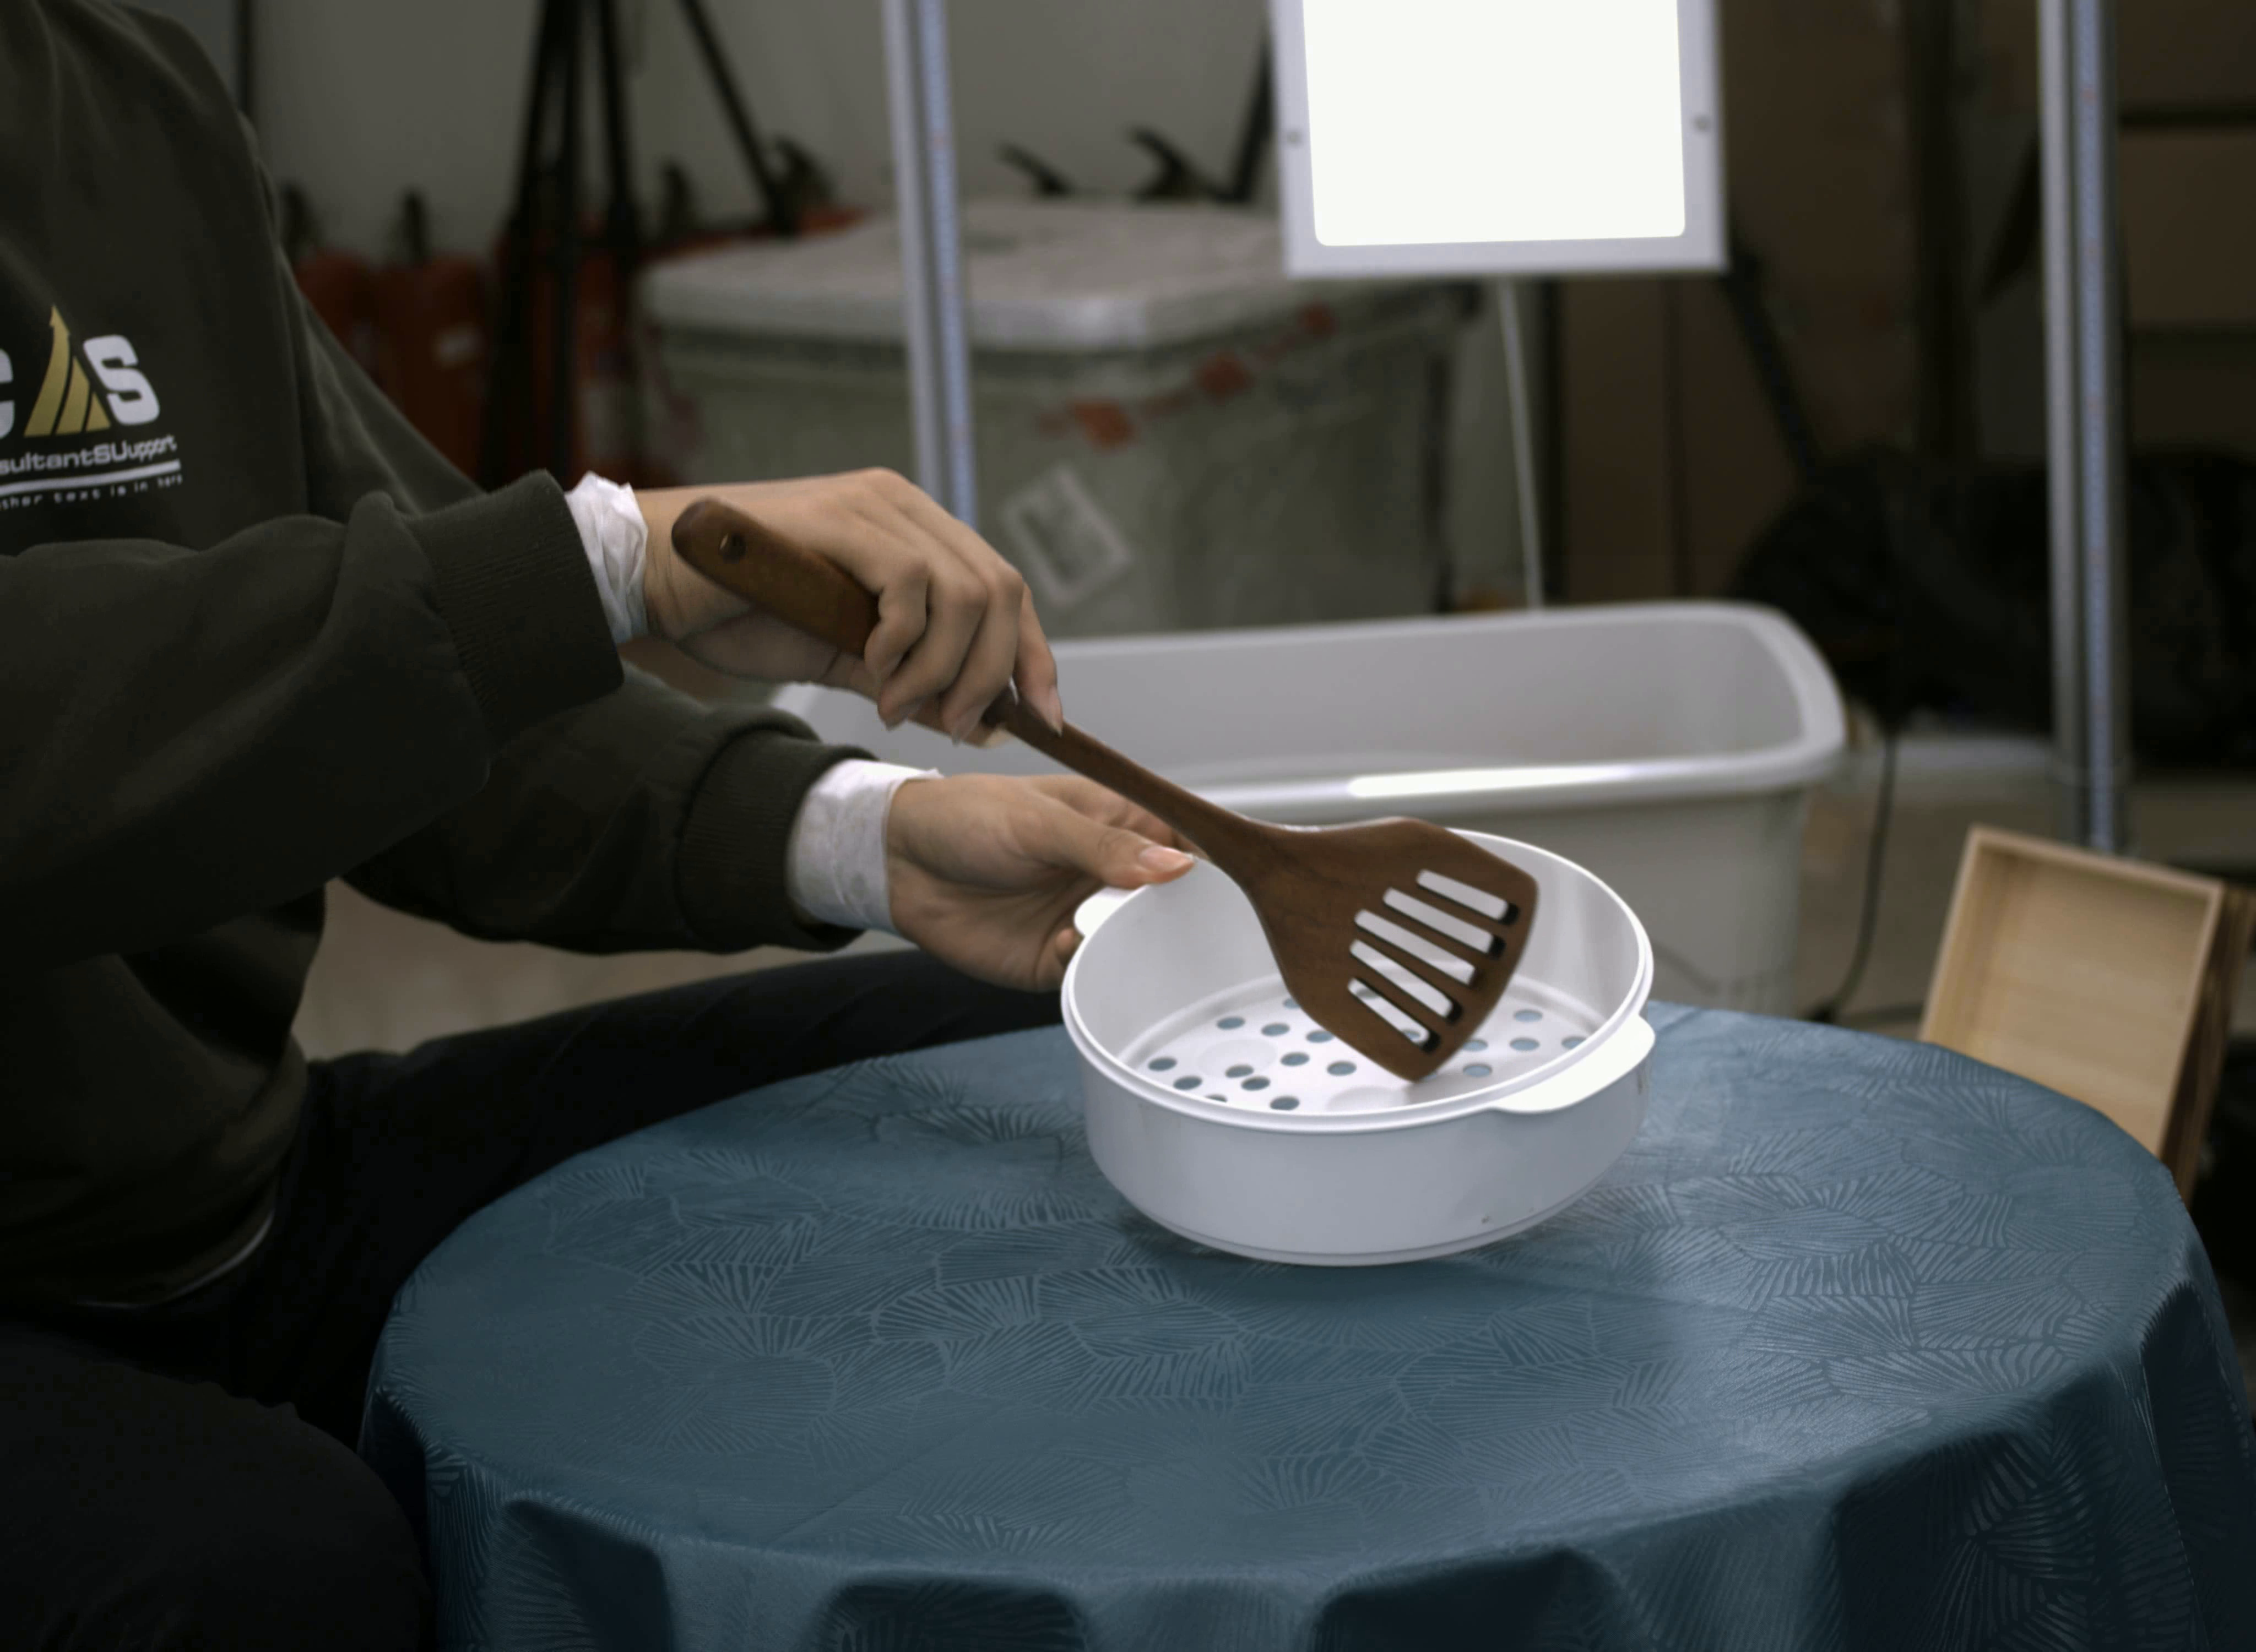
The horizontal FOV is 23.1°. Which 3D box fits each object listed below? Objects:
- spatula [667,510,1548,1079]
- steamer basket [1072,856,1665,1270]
[{"bbox_3d":[0.000,-0.016,1.775,0.378,0.086,0.024,29,7,-35],"label":"spatula"},{"bbox_3d":[0.084,0.080,1.866,0.197,0.069,0.235,-27,30,-36],"label":"steamer basket"}]
